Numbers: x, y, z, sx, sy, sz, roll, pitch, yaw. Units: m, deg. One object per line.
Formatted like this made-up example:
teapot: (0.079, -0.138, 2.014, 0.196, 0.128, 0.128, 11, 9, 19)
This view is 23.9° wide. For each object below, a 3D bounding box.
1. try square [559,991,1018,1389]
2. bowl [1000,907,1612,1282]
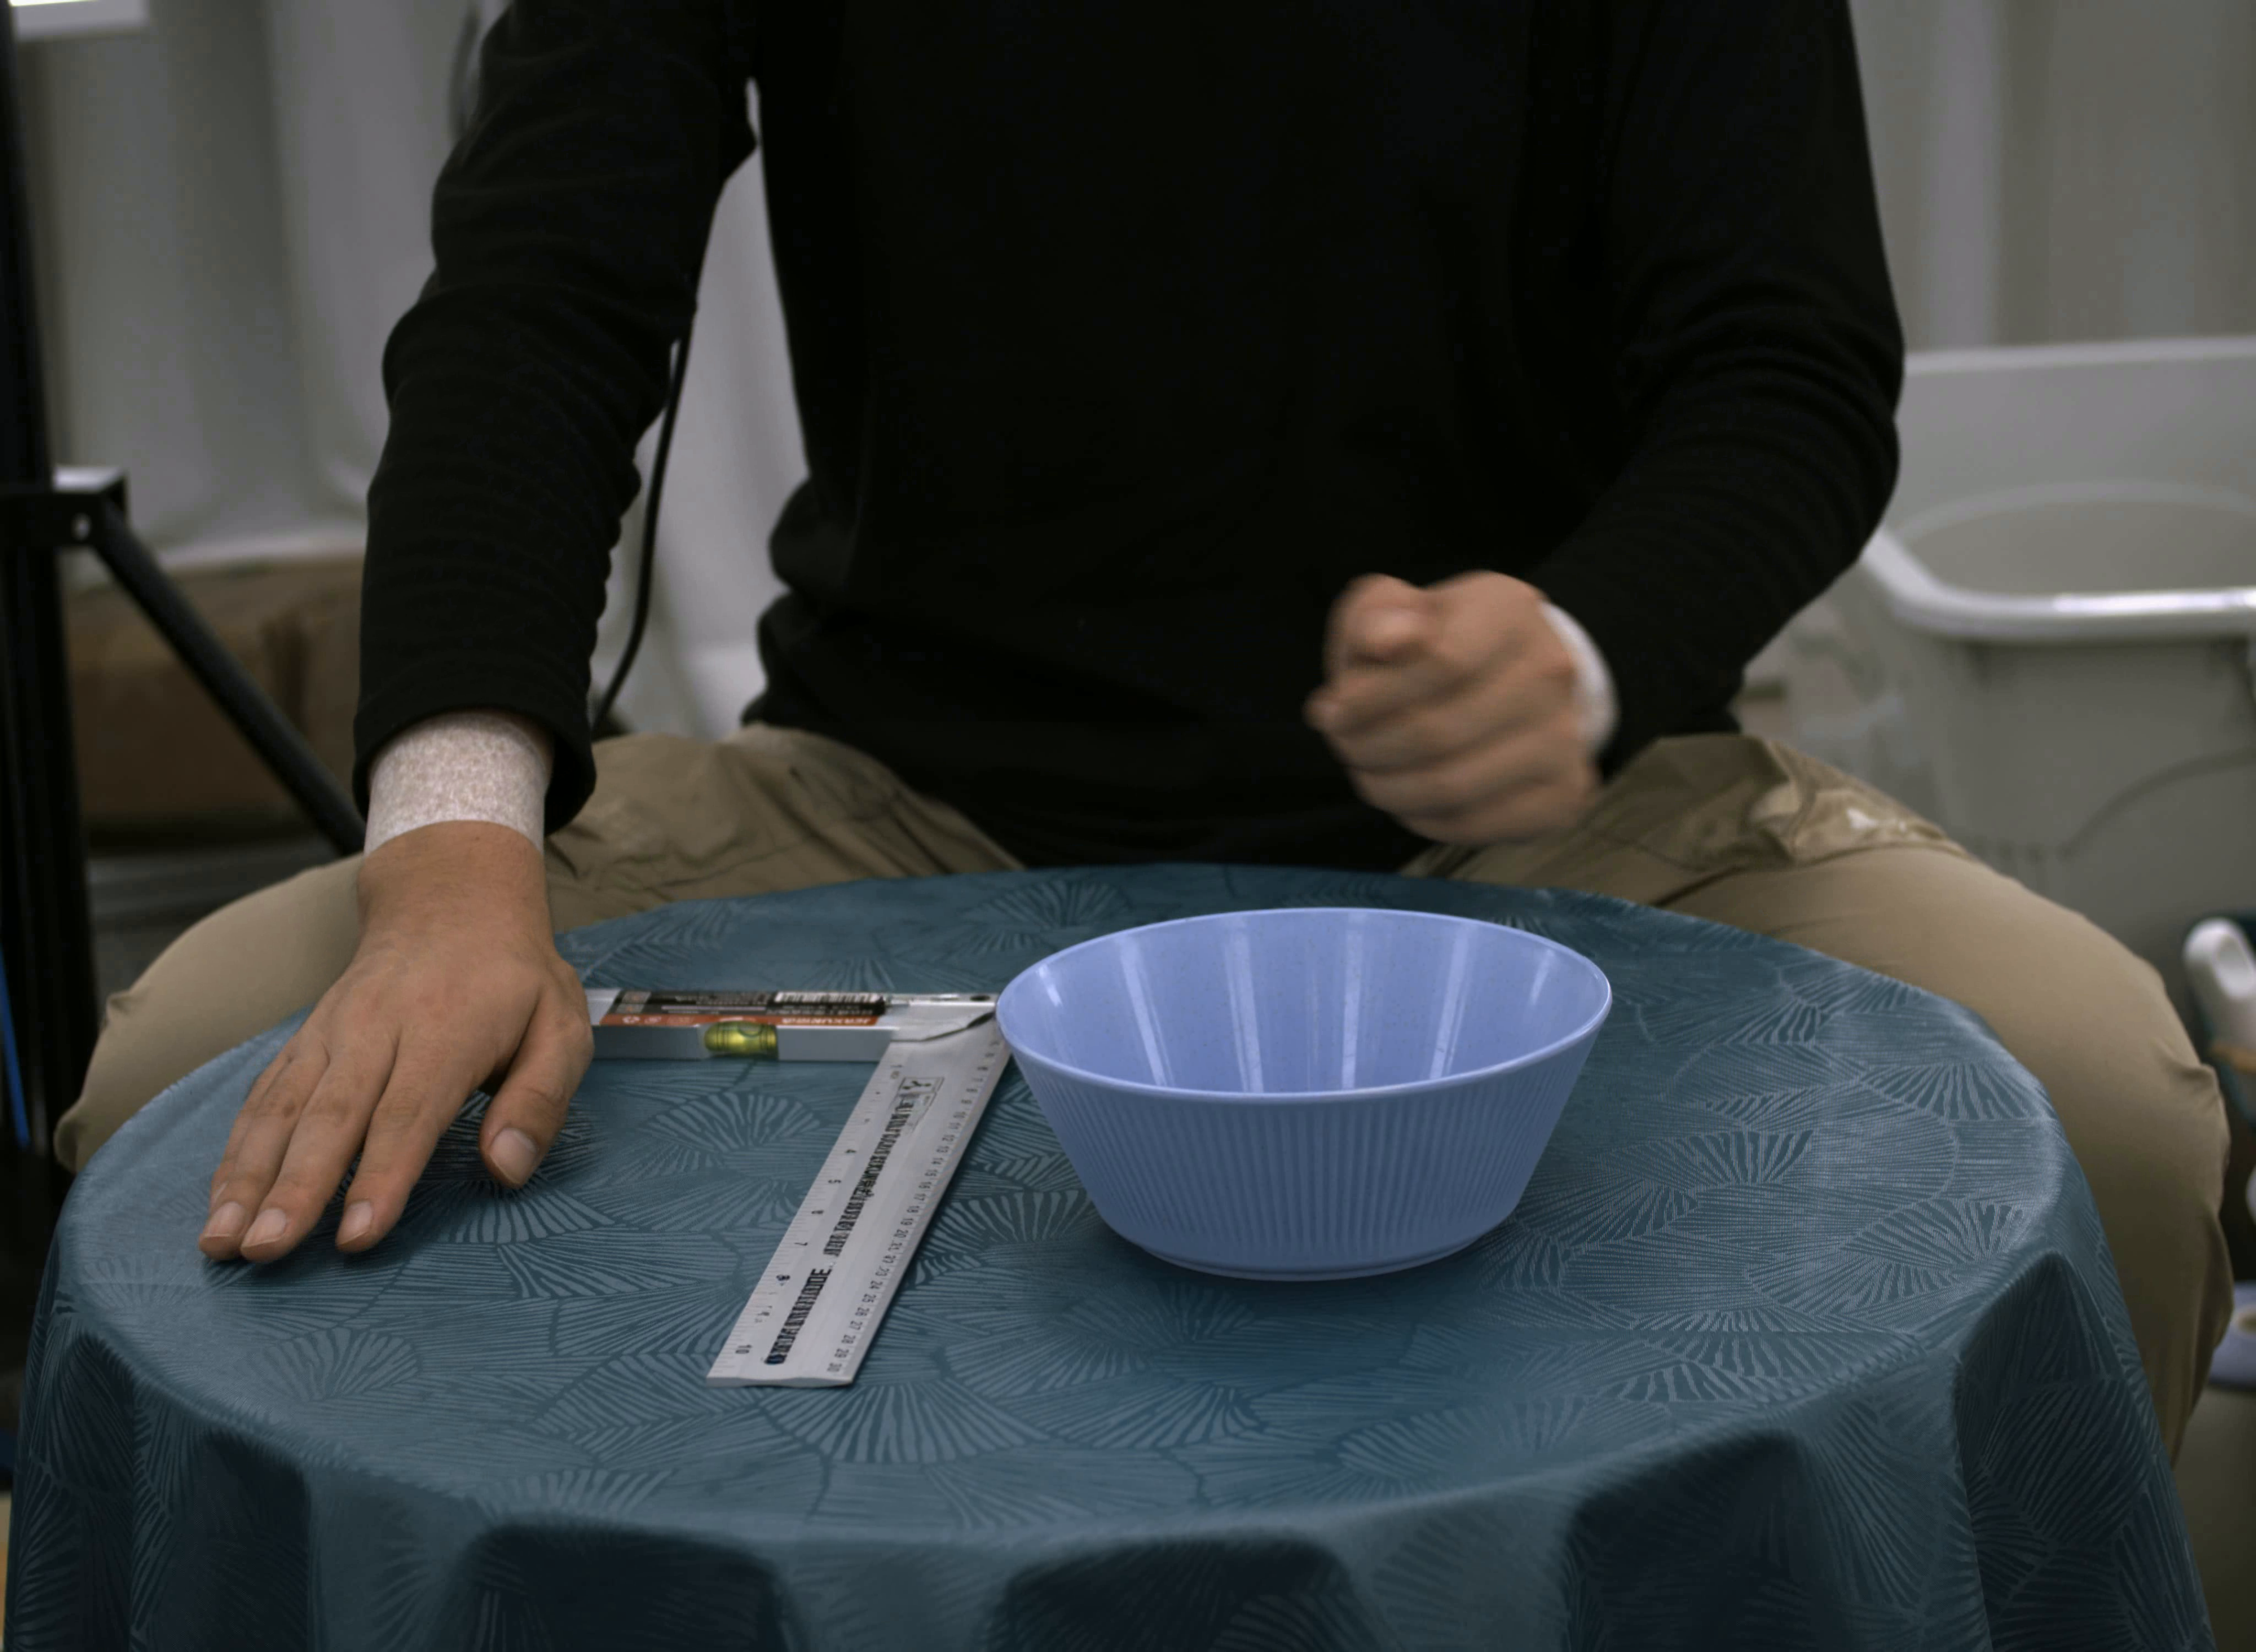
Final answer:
try square: (-0.124, 0.106, 1.580, 0.153, 0.016, 0.312, -3, 17, 10)
bowl: (0.052, 0.080, 1.521, 0.175, 0.070, 0.177, -3, 16, -1)
